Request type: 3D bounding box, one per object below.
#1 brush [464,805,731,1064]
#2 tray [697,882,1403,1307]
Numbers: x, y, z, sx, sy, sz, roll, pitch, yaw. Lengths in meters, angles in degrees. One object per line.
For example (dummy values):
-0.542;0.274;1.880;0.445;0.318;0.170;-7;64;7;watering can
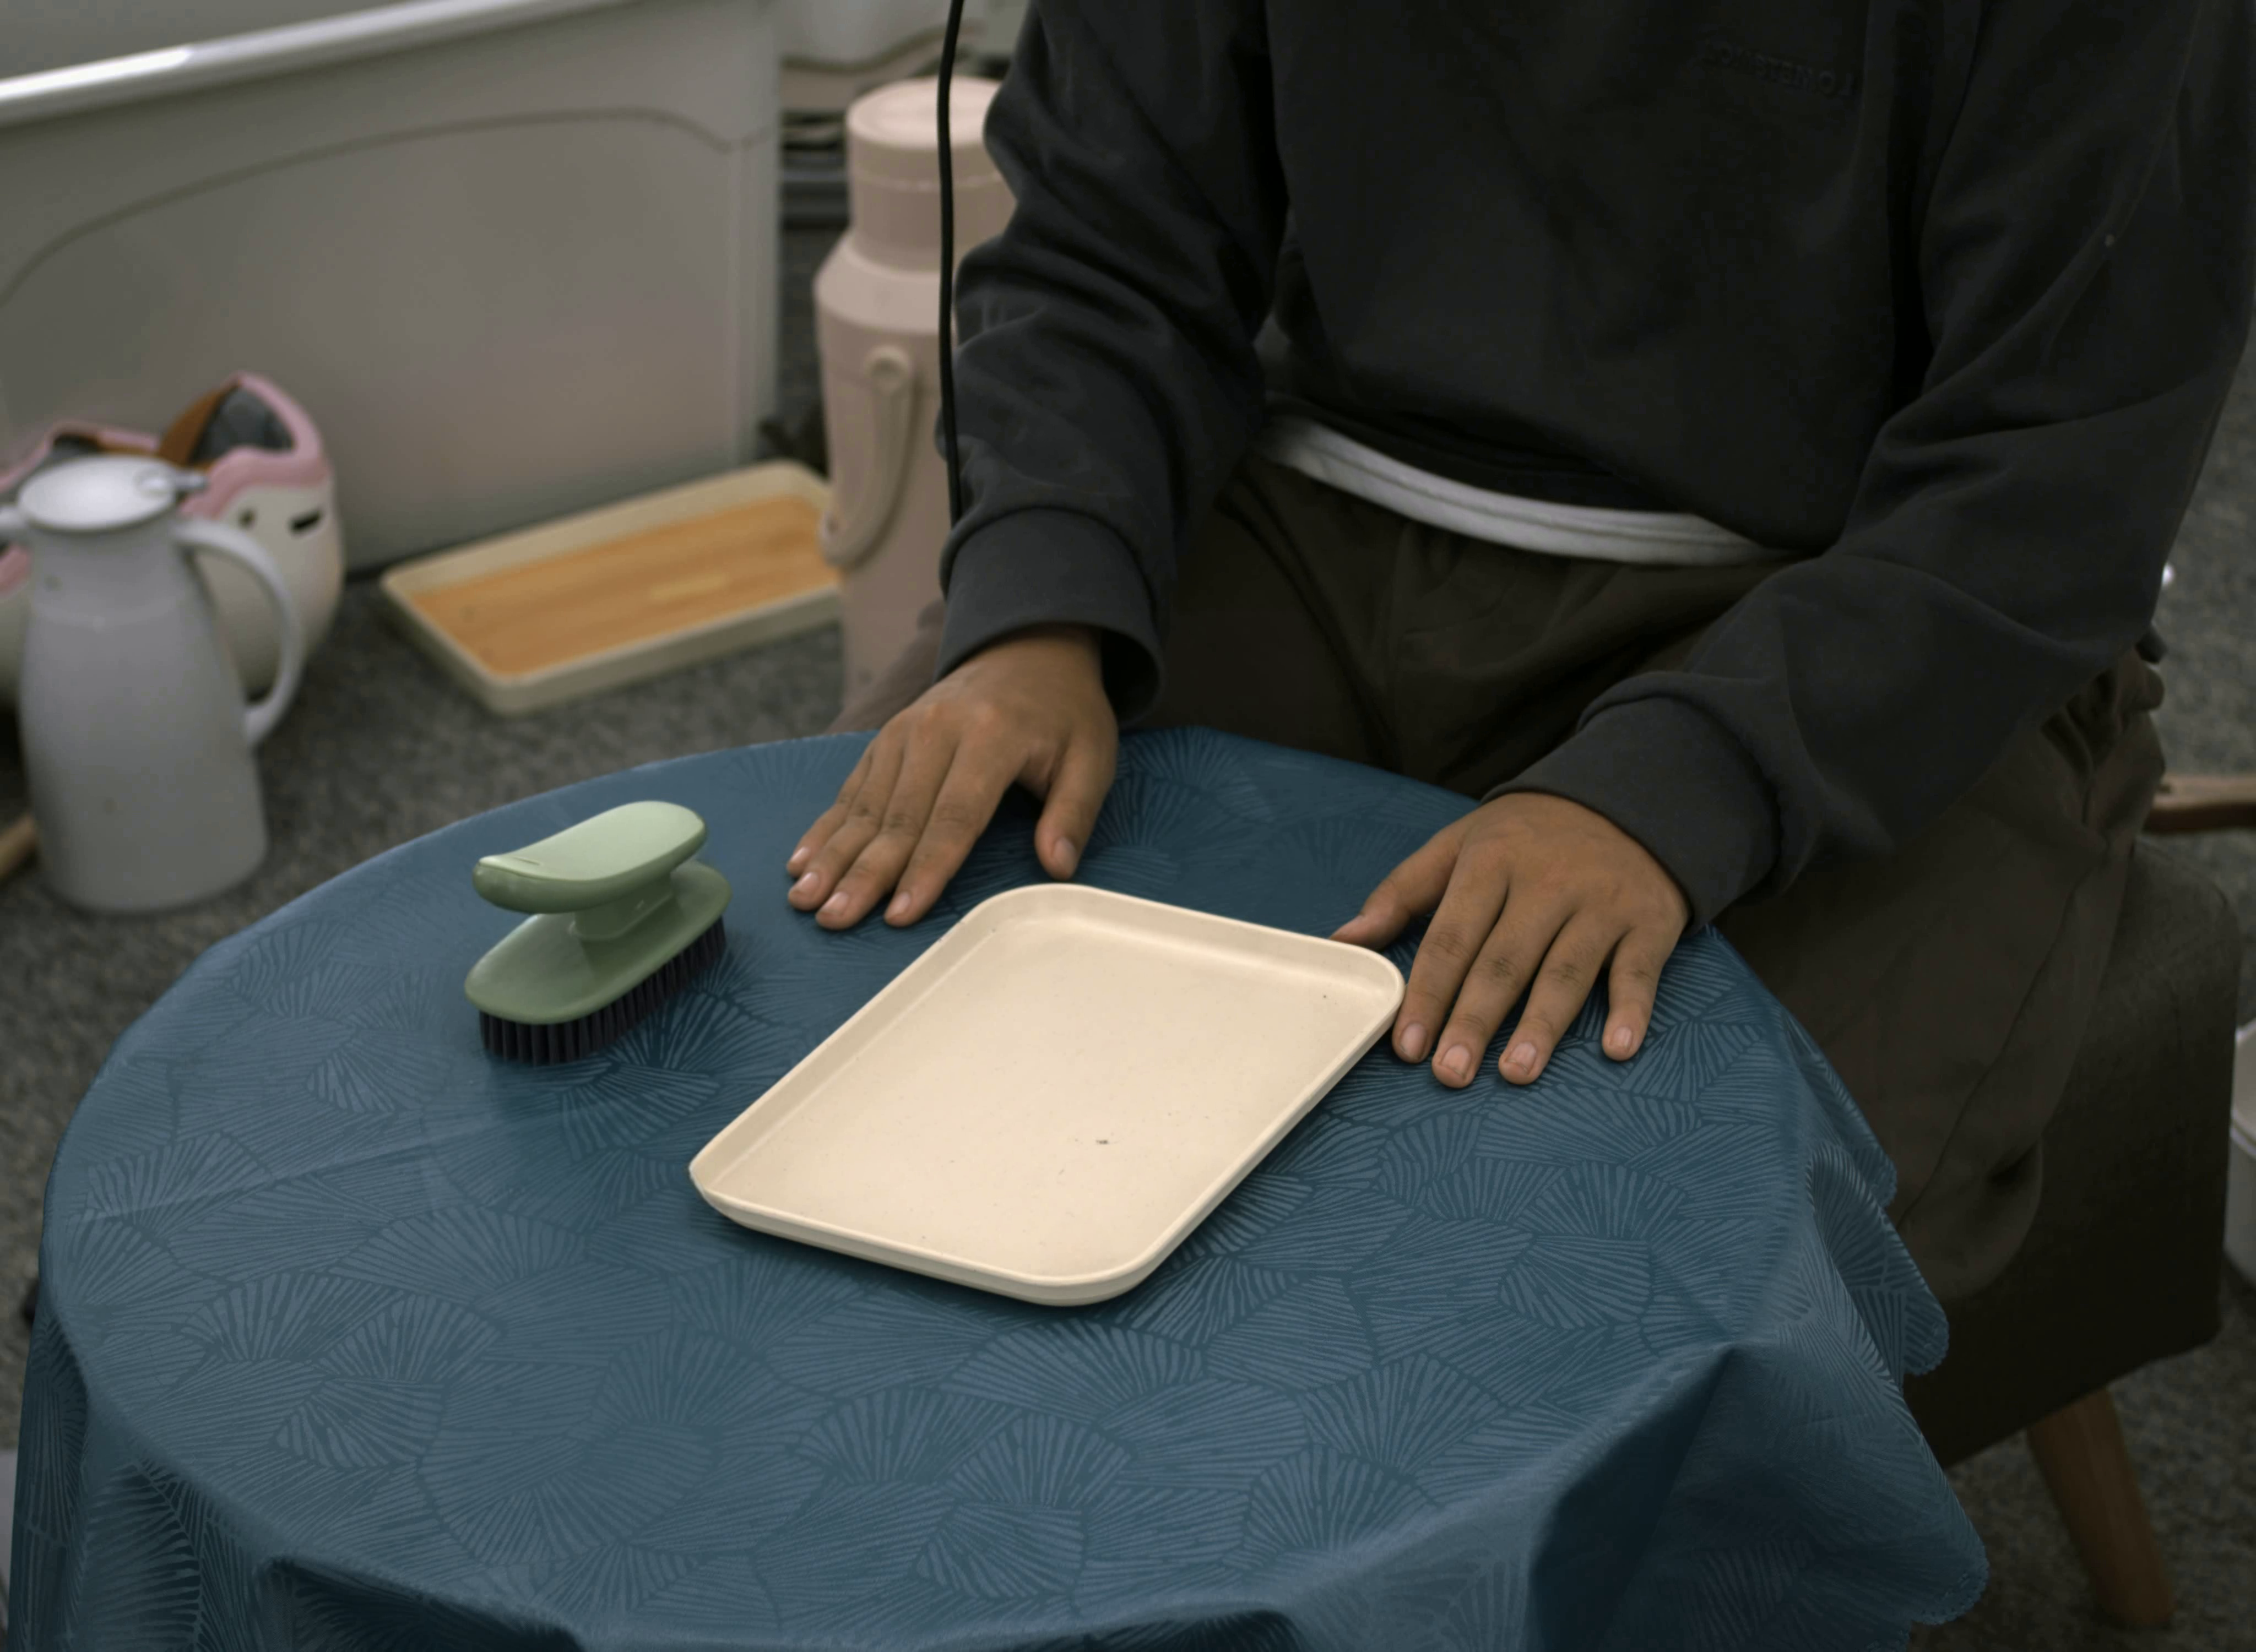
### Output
-0.188;0.037;1.988;0.059;0.075;0.124;13;17;26;brush
-0.023;0.090;1.909;0.170;0.017;0.243;13;31;26;tray
